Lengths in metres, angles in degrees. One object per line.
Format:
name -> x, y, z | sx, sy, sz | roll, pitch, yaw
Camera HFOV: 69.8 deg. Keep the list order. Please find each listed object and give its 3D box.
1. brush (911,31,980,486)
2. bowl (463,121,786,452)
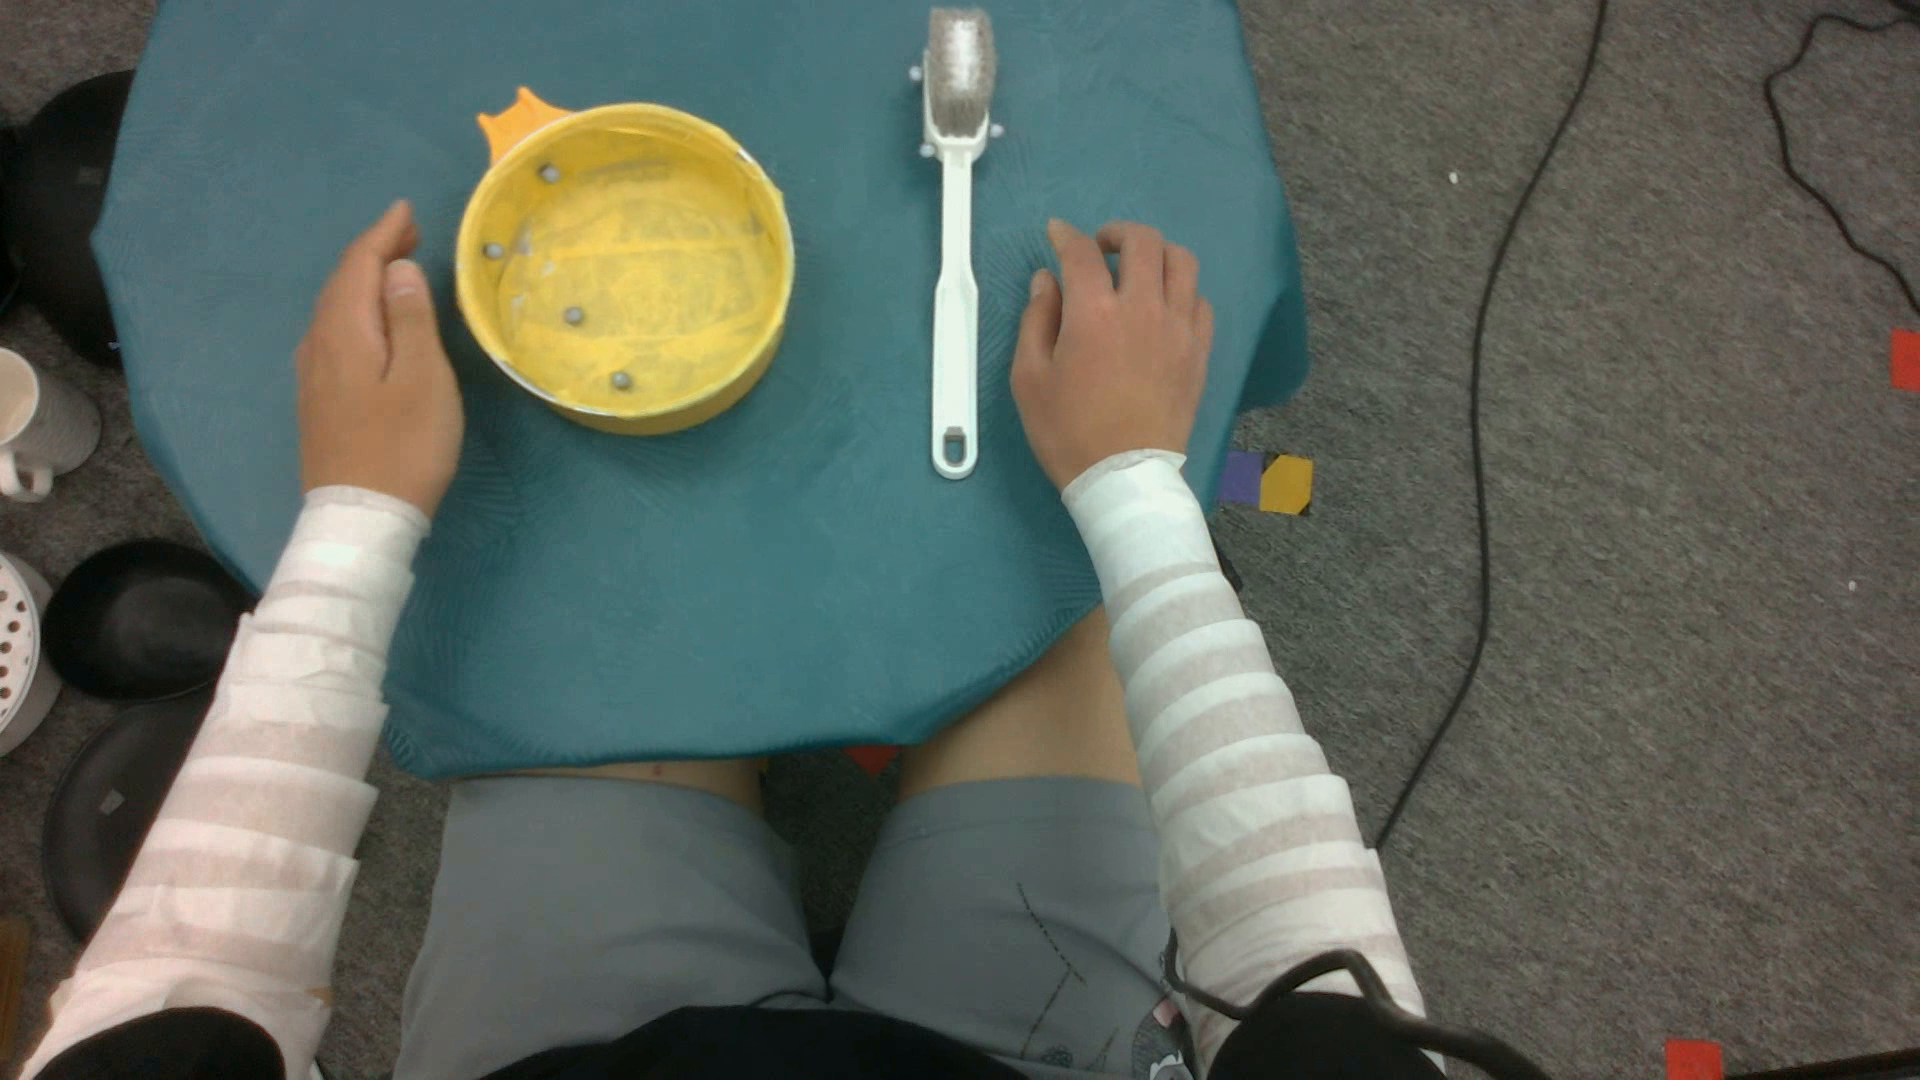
brush -> -0.009, -0.151, 0.715 | 0.034, 0.050, 0.244 | 2, 78, -5
bowl -> -0.168, -0.129, 0.687 | 0.153, 0.074, 0.179 | -42, 83, -7
